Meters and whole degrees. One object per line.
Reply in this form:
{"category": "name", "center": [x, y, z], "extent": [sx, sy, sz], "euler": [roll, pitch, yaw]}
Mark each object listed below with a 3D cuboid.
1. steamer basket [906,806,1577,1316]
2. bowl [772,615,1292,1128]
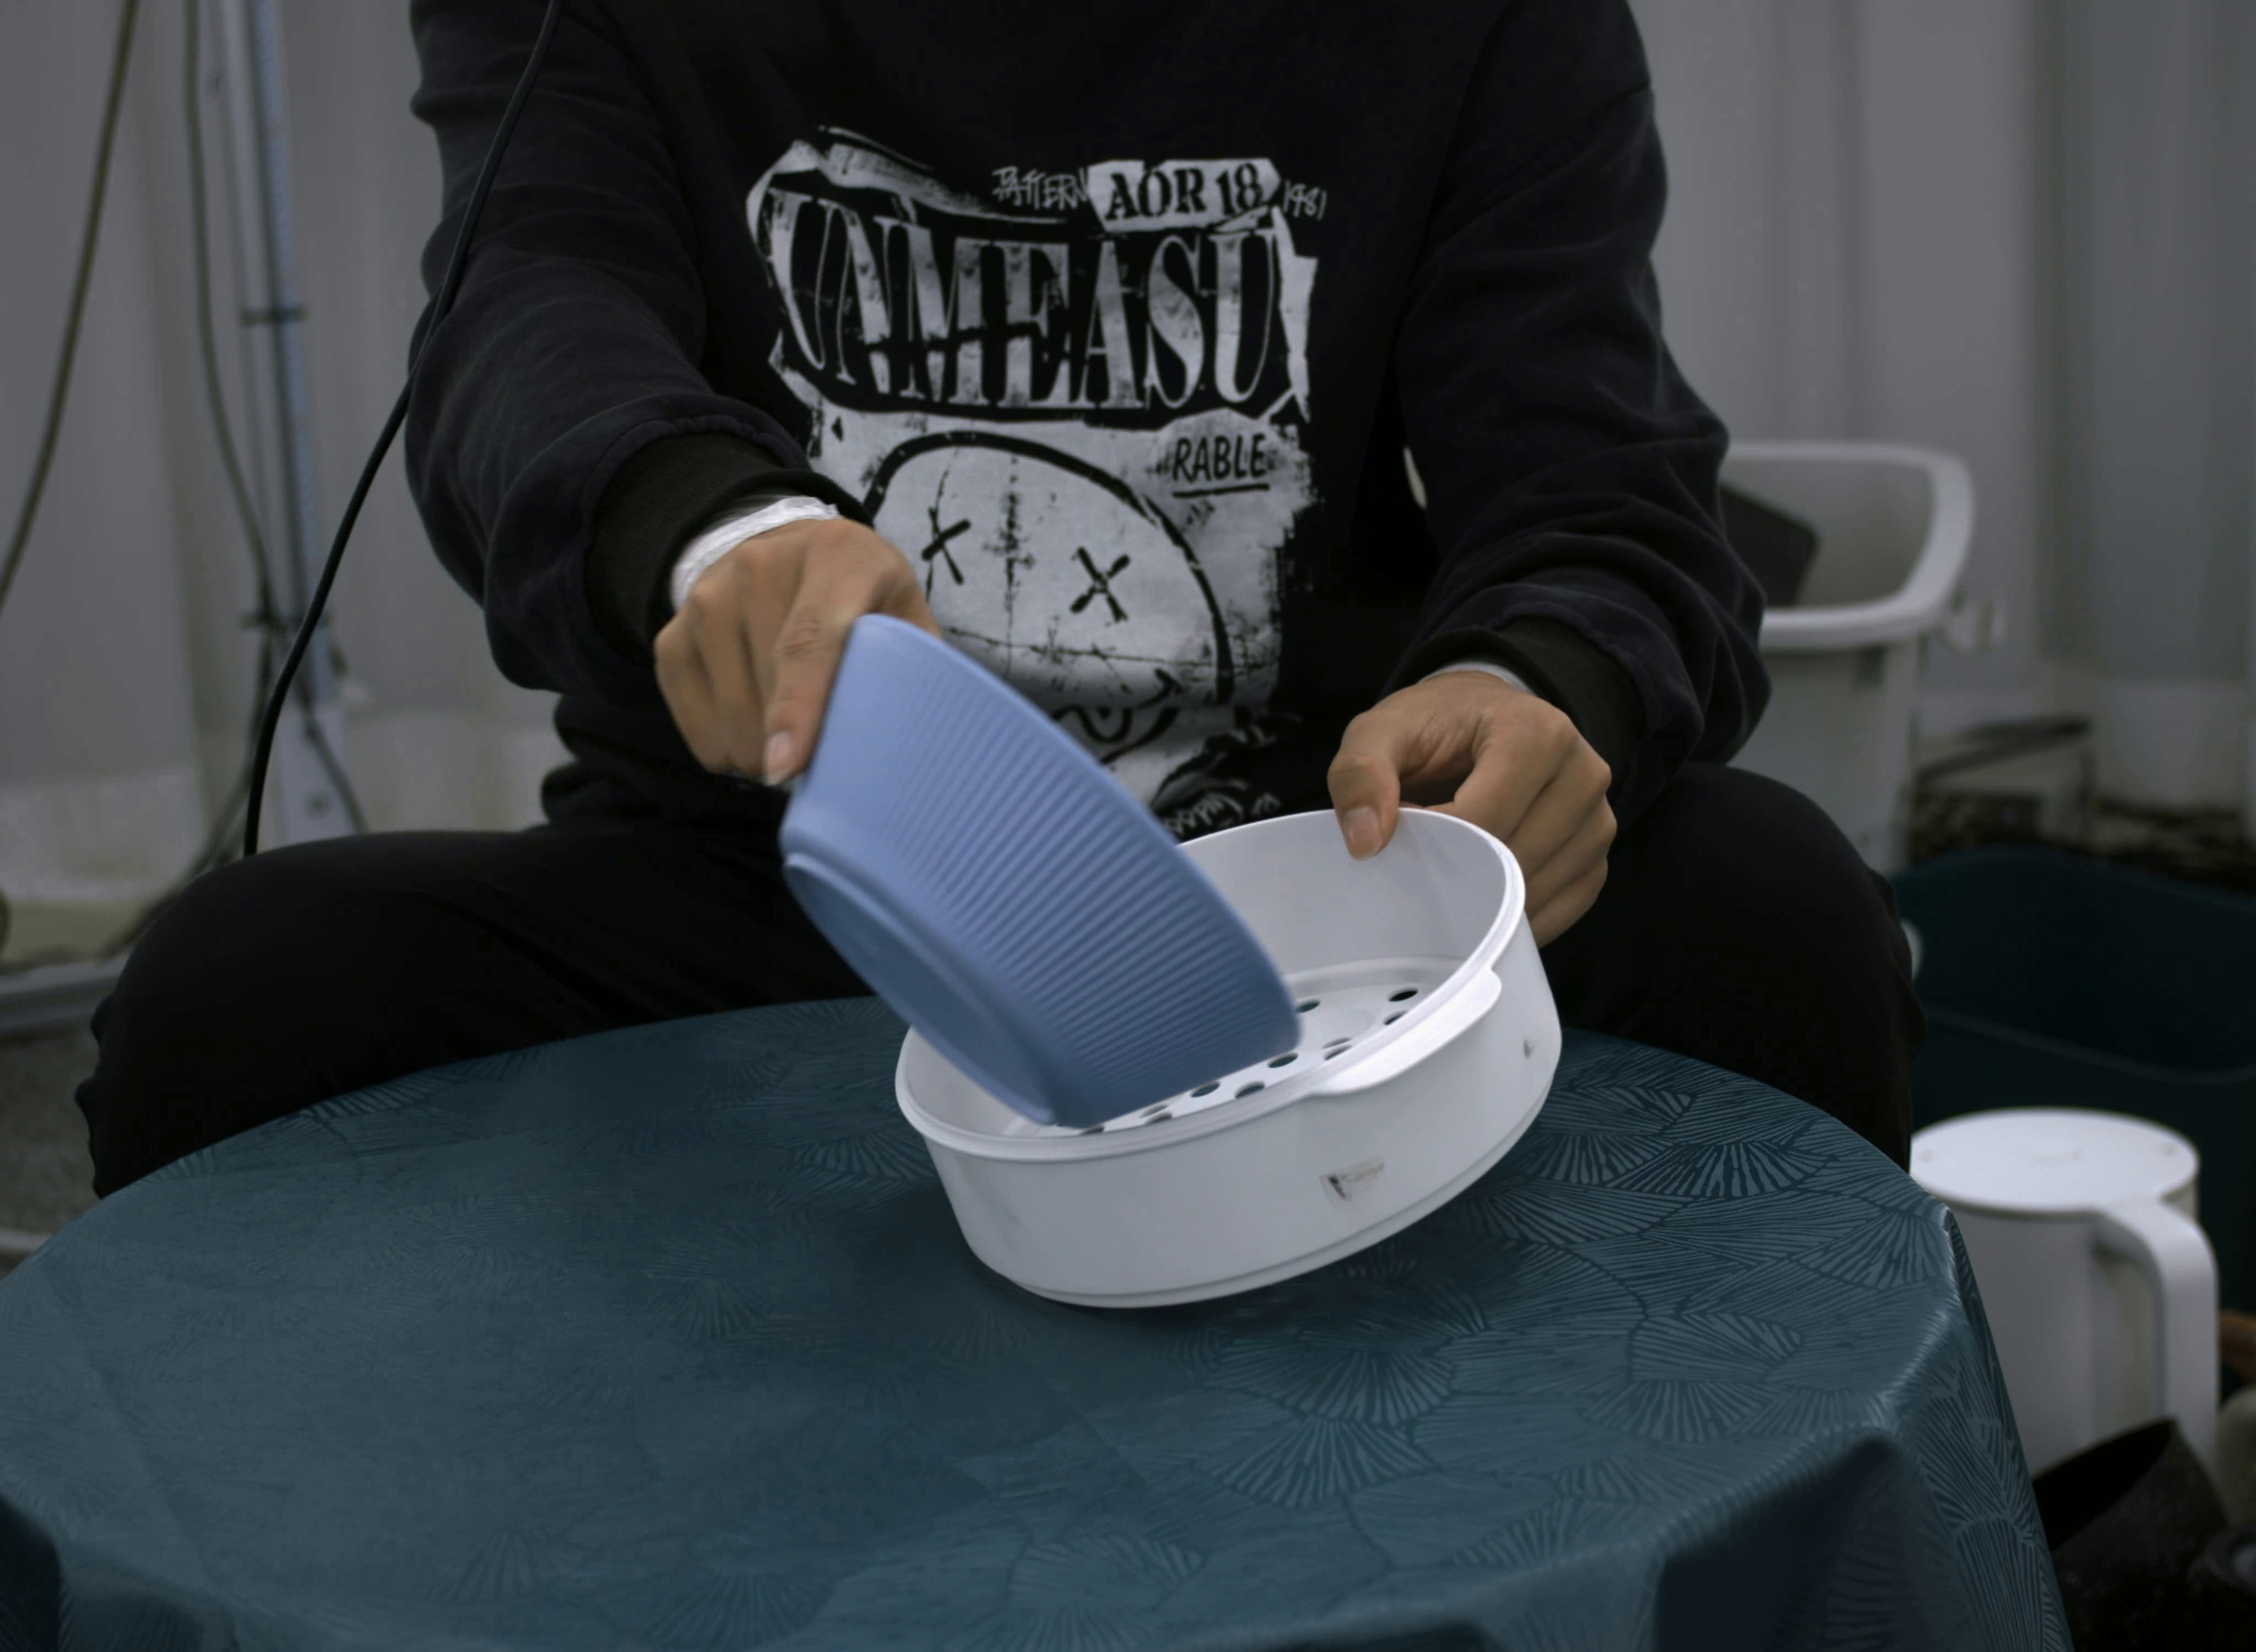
{"category": "steamer basket", "center": [0.037, 0.071, 1.652], "extent": [0.202, 0.068, 0.232], "euler": [-33, 27, -28]}
{"category": "bowl", "center": [-0.039, 0.024, 1.566], "extent": [0.070, 0.174, 0.177], "euler": [-46, 28, -11]}
